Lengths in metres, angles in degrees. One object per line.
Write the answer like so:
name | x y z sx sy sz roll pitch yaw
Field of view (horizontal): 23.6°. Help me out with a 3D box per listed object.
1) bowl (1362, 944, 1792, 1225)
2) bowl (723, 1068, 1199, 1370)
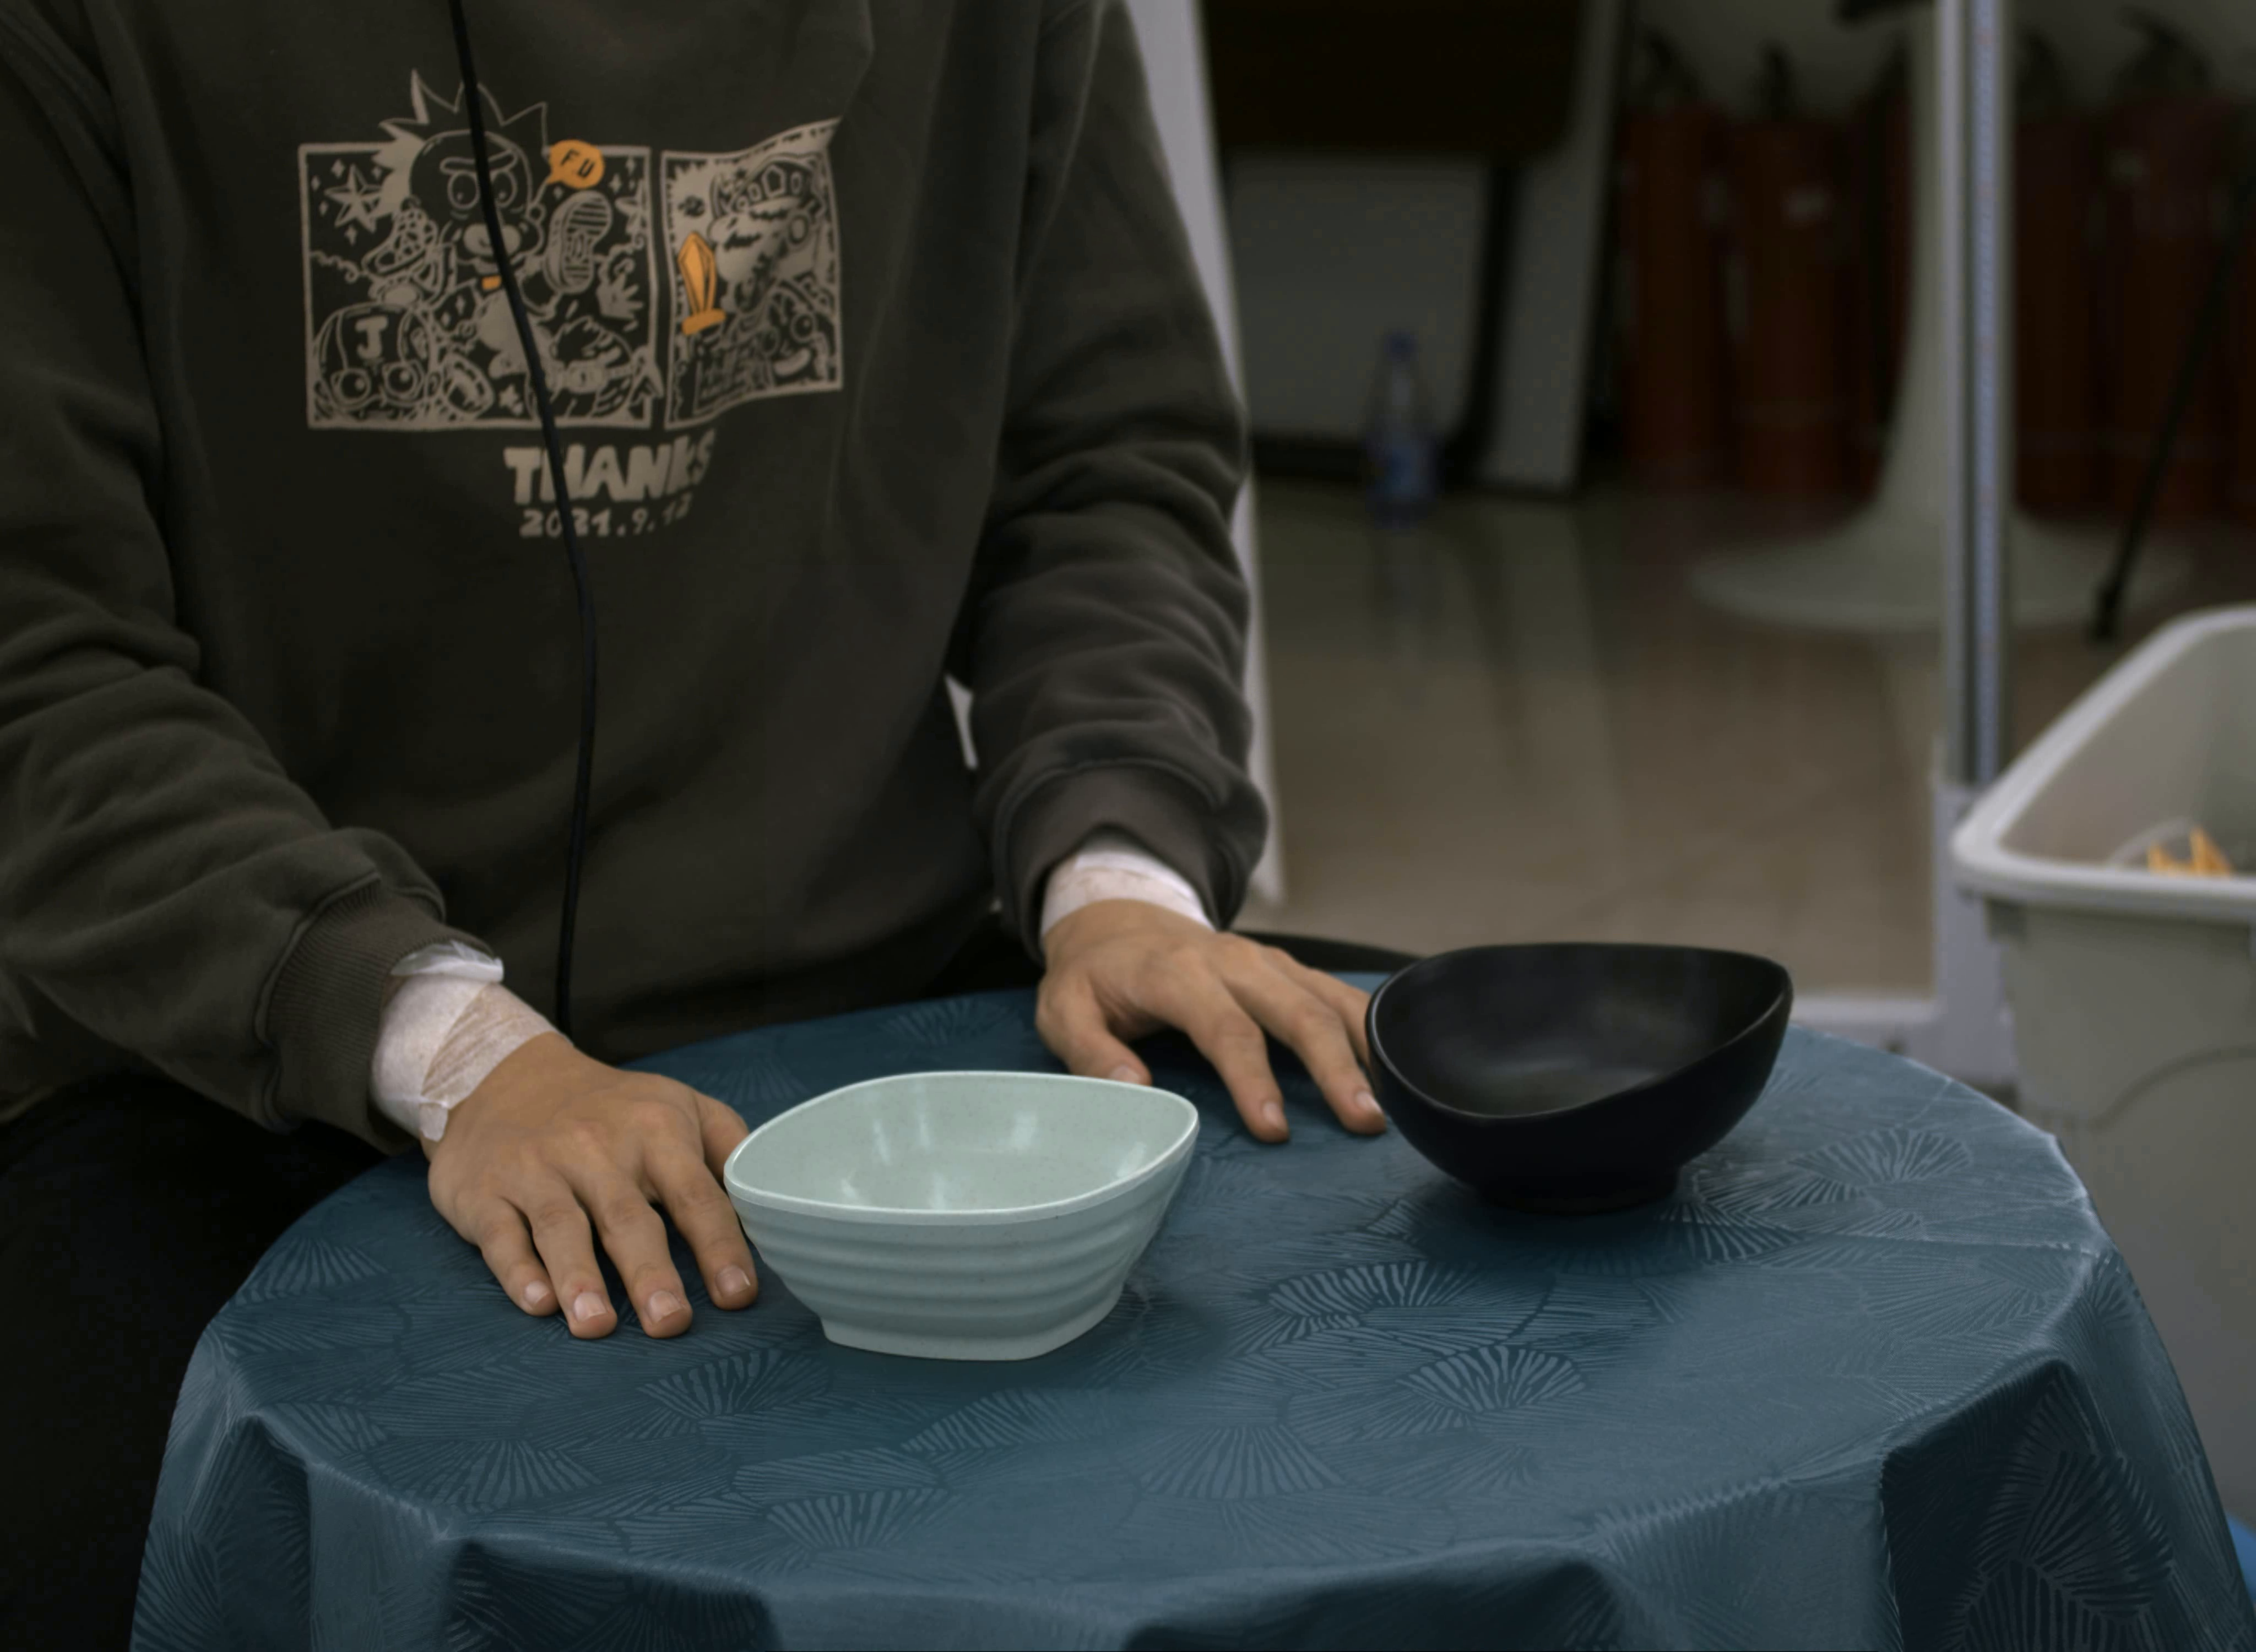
bowl | 0.146 0.087 1.740 0.137 0.067 0.168 1 16 22
bowl | -0.050 0.124 1.658 0.149 0.059 0.152 -2 15 0
